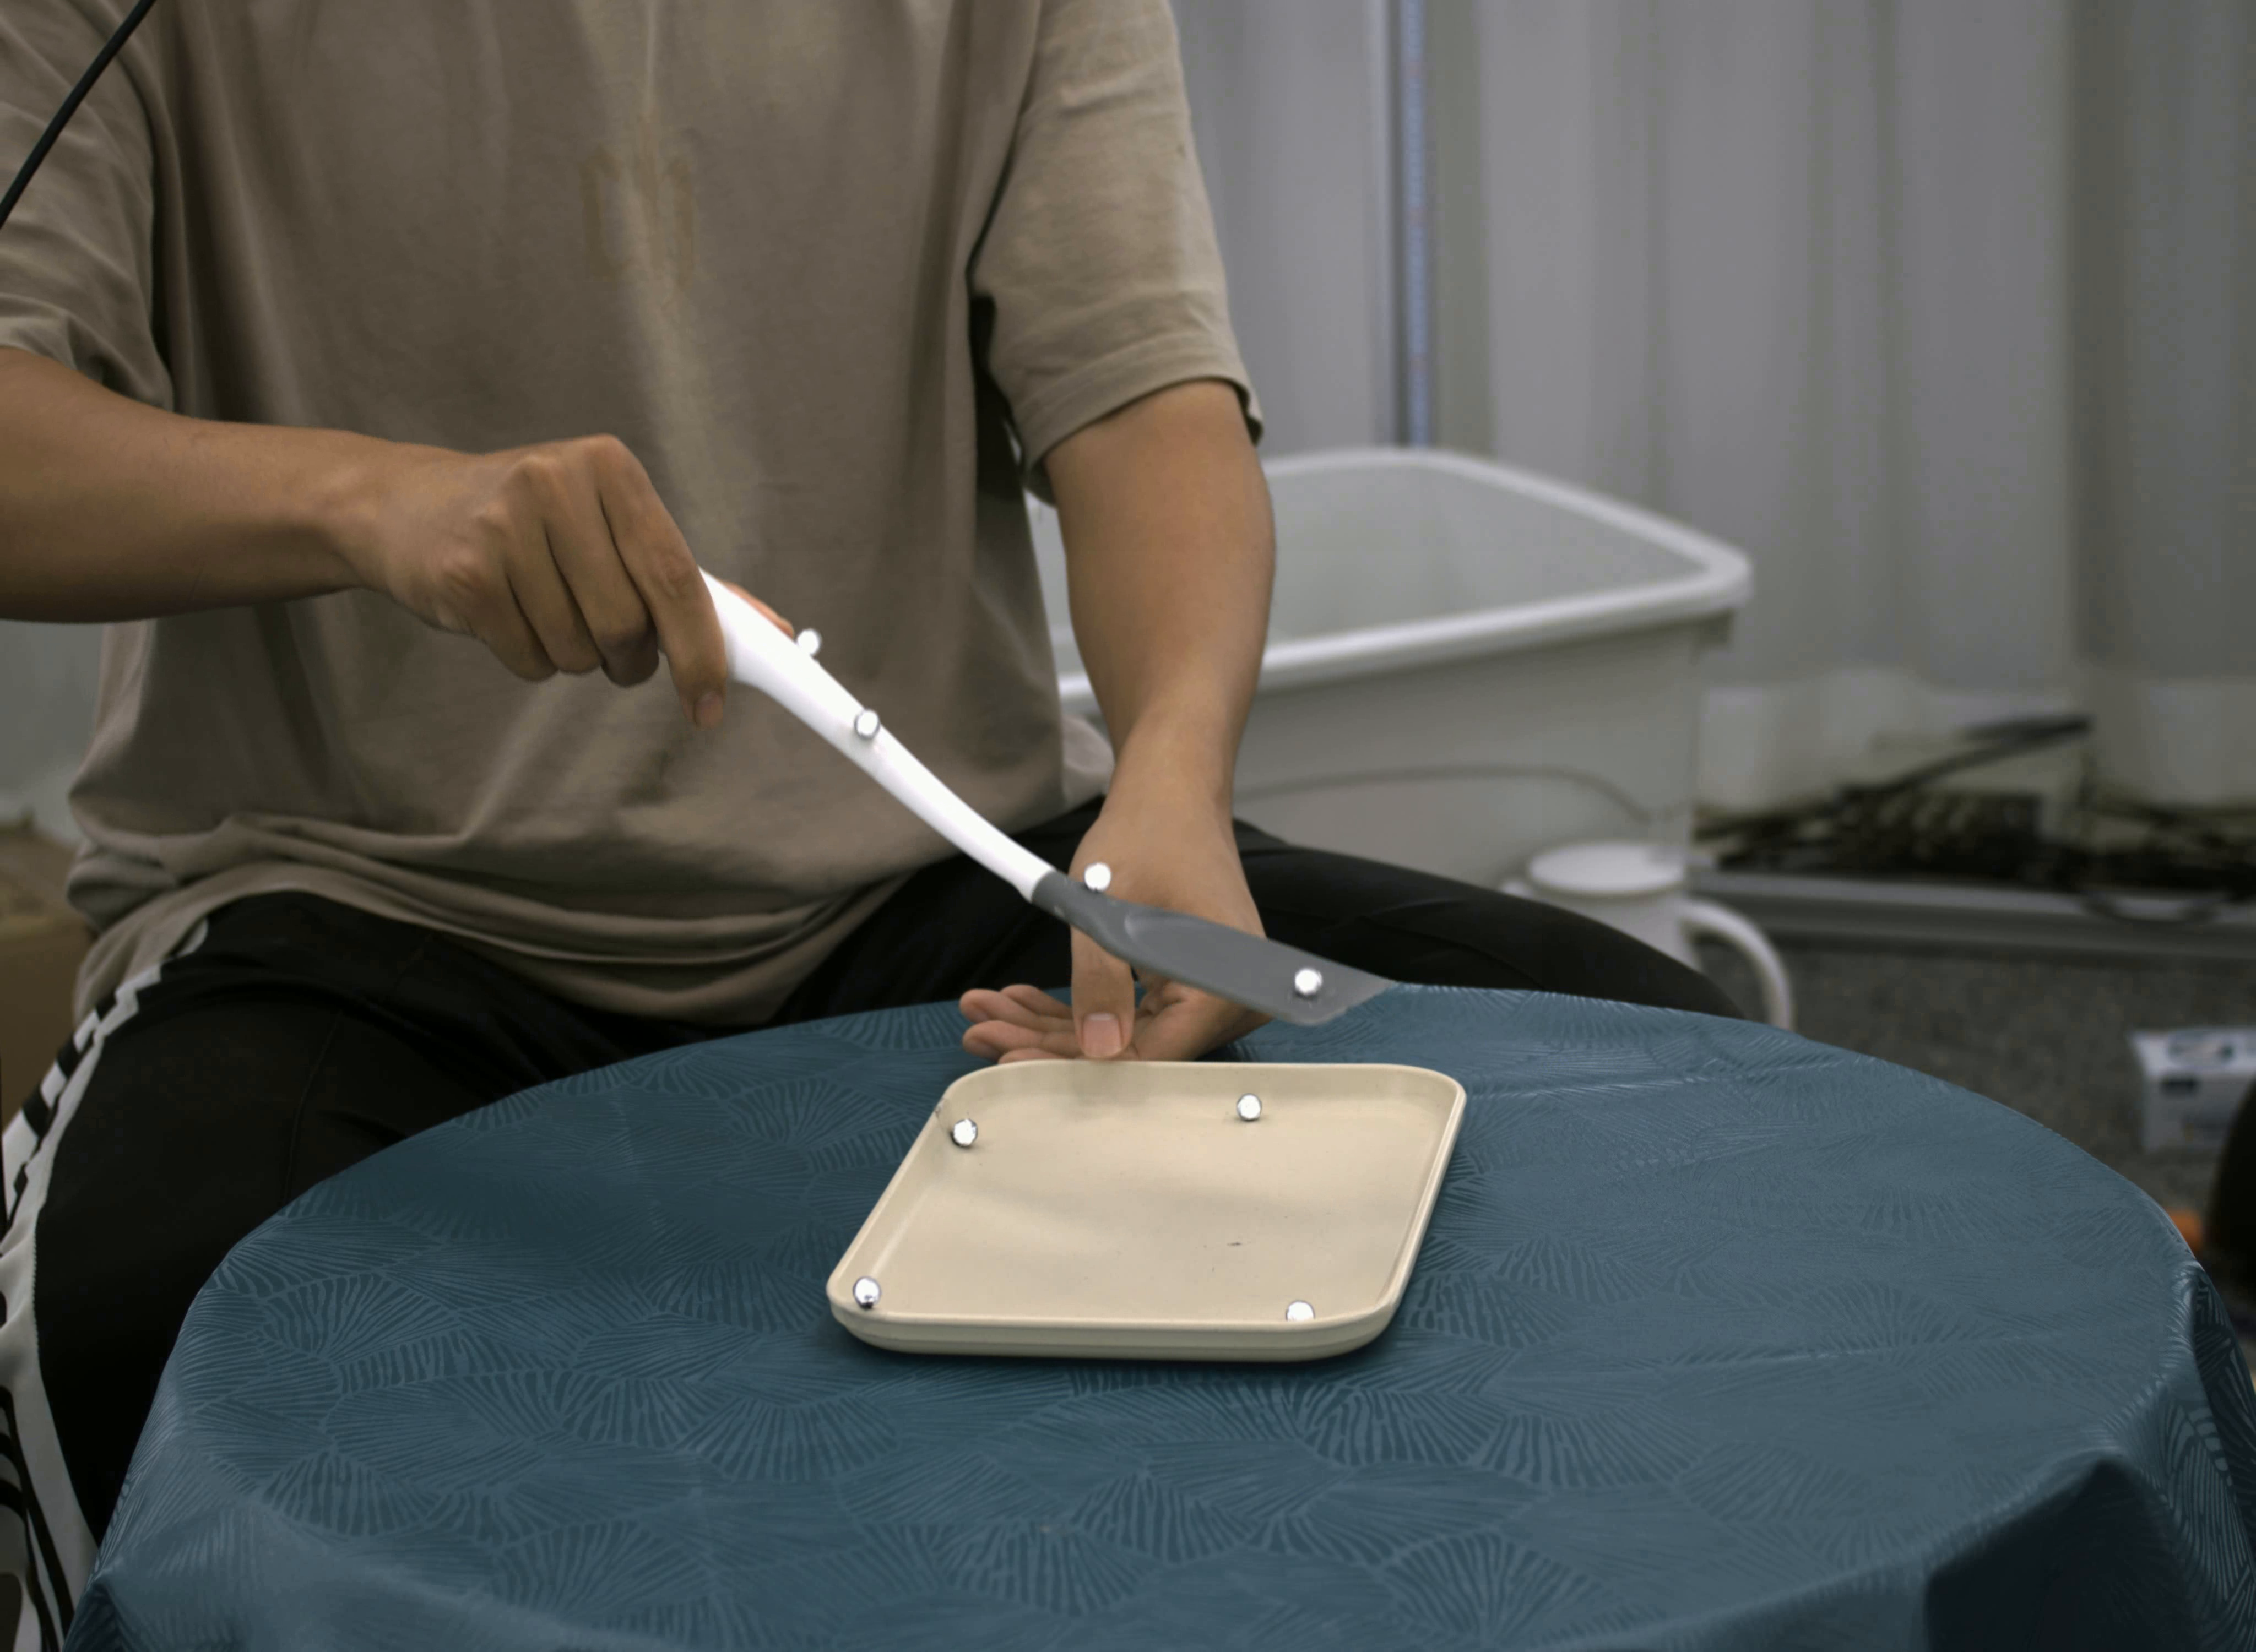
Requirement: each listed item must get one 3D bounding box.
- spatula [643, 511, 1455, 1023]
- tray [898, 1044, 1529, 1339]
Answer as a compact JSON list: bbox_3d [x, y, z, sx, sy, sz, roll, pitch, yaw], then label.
[{"bbox_3d":[-0.028,-0.013,1.669,0.289,0.032,0.058,32,21,20],"label":"spatula"},{"bbox_3d":[0.031,0.111,1.672,0.171,0.017,0.241,1,15,10],"label":"tray"}]
